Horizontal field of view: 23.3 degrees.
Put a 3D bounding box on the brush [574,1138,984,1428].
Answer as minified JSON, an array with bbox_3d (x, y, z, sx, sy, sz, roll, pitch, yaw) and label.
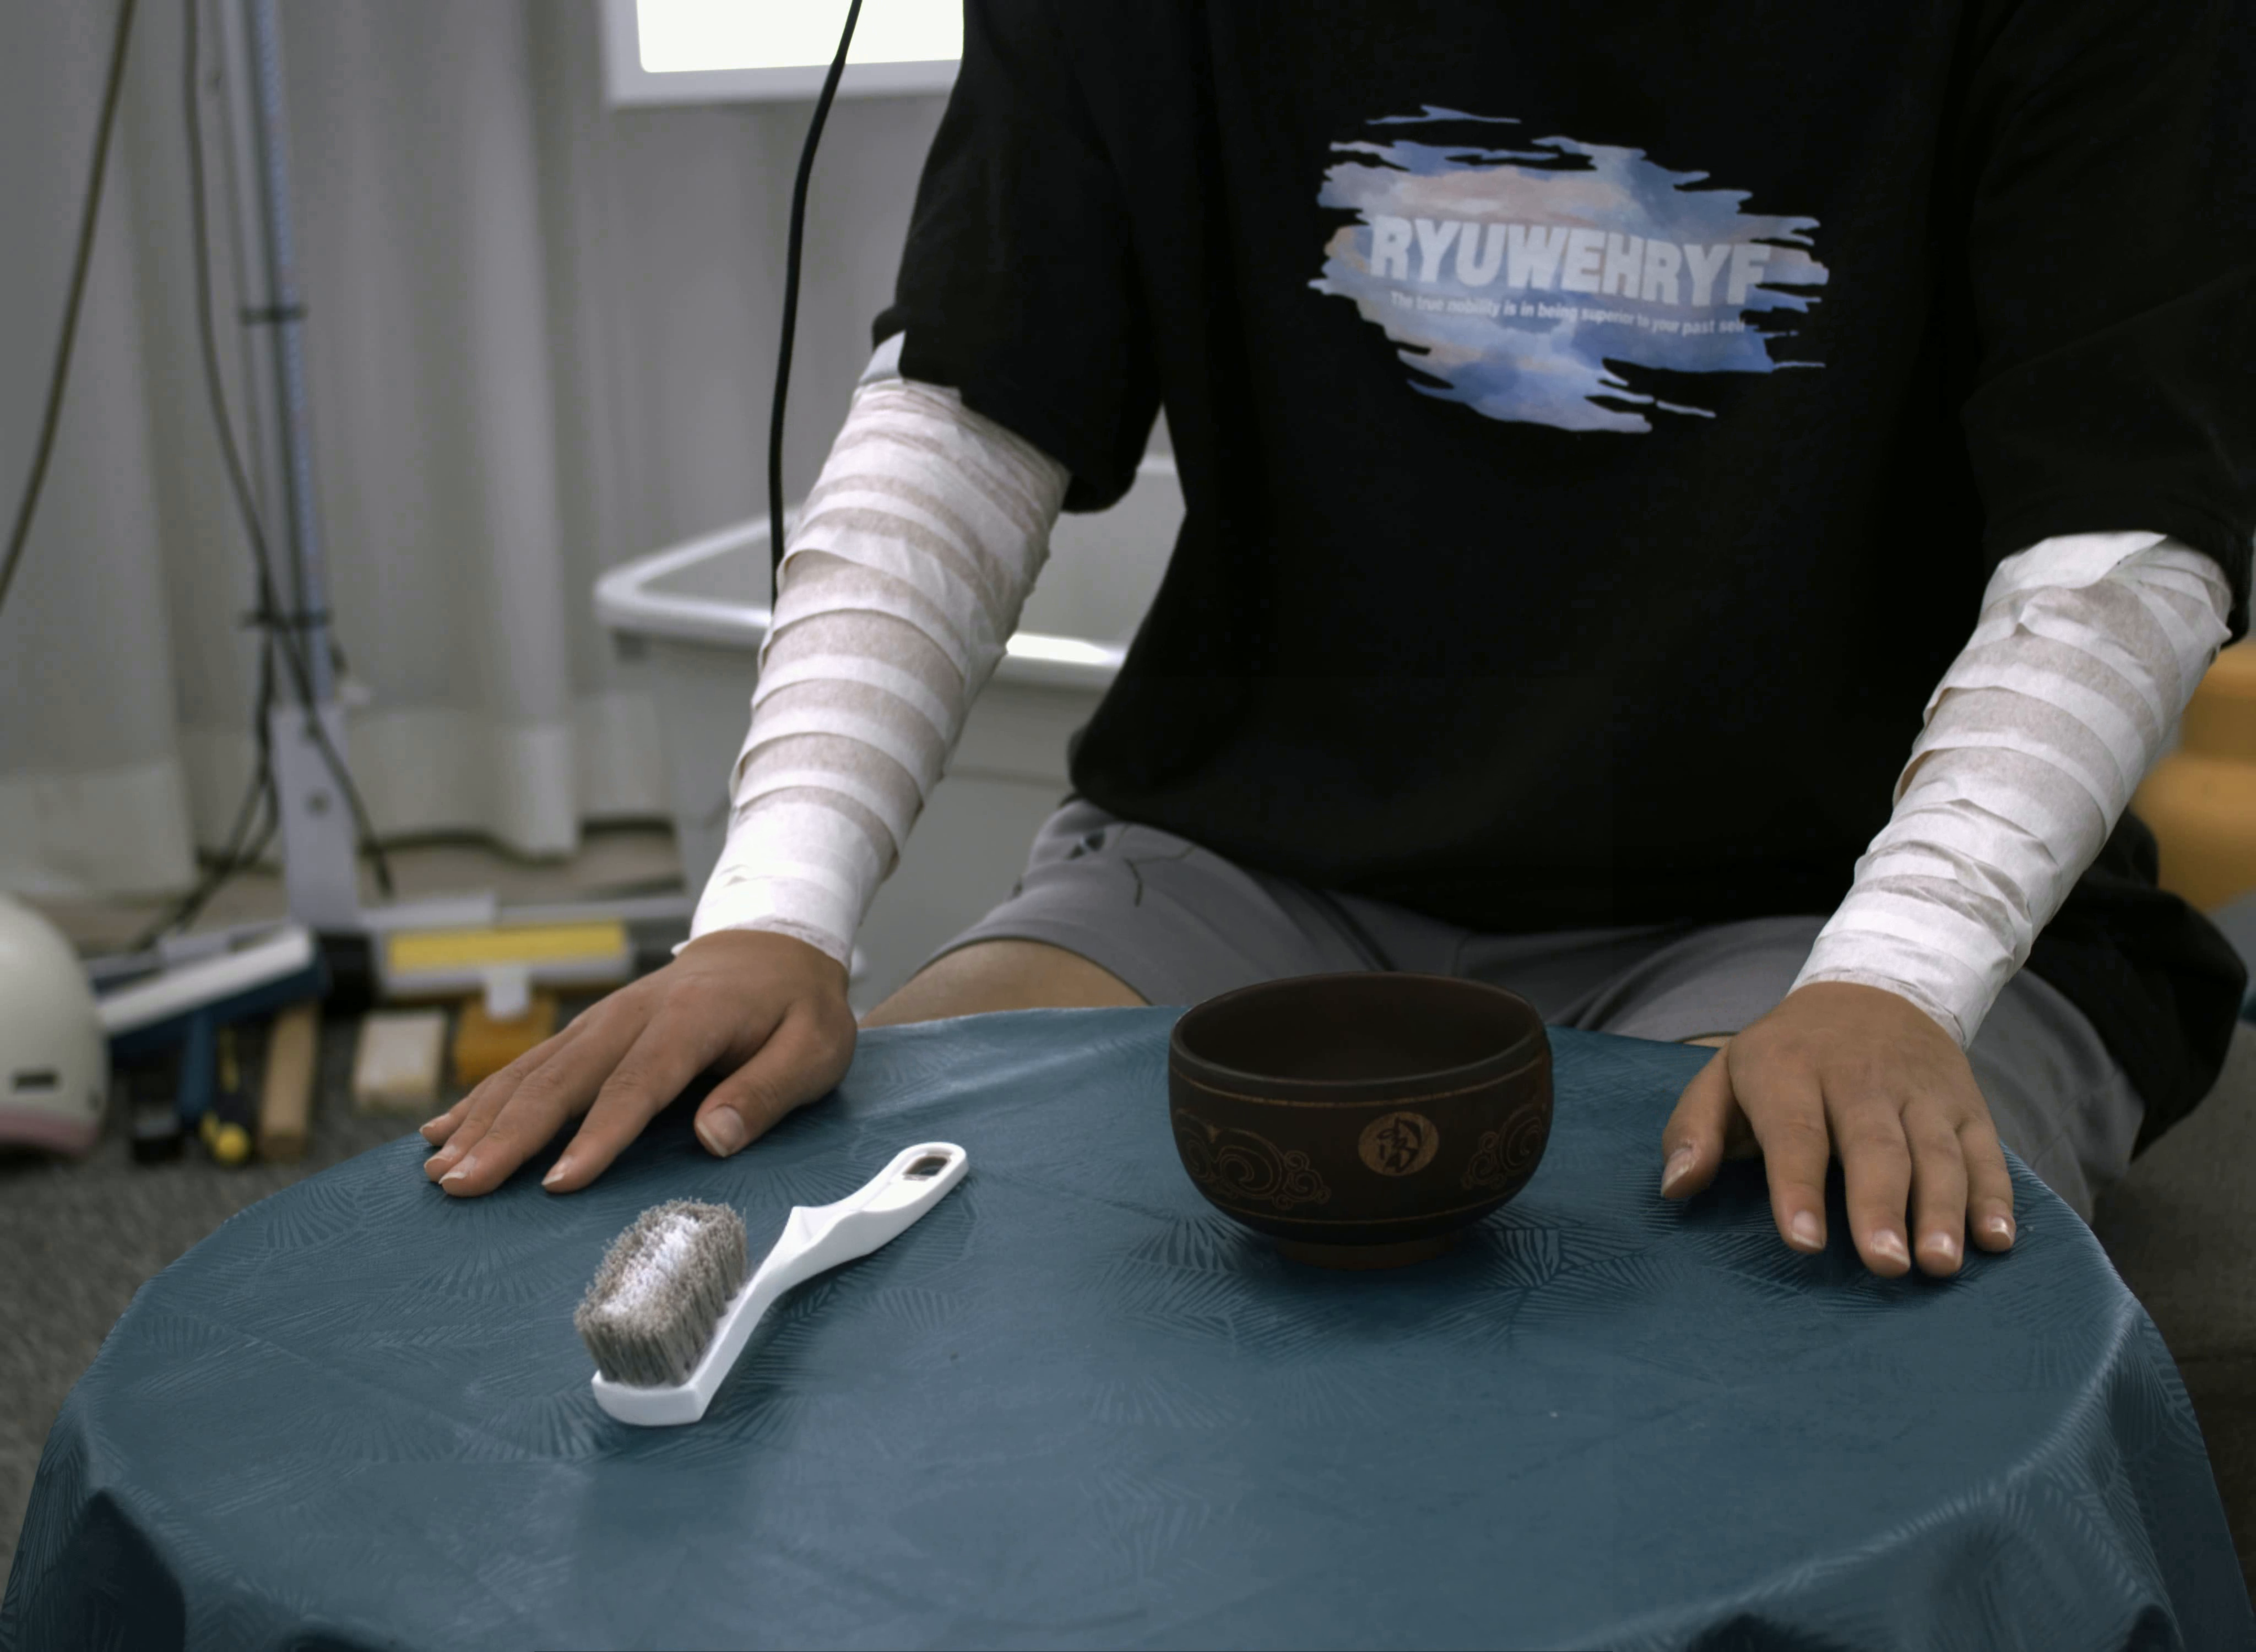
[{"bbox_3d":[-0.099,0.116,1.627,0.034,0.050,0.244,3,16,22],"label":"brush"}]

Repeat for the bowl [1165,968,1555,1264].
[{"bbox_3d":[0.071,0.091,1.648,0.117,0.069,0.118,-3,12,0],"label":"bowl"}]
